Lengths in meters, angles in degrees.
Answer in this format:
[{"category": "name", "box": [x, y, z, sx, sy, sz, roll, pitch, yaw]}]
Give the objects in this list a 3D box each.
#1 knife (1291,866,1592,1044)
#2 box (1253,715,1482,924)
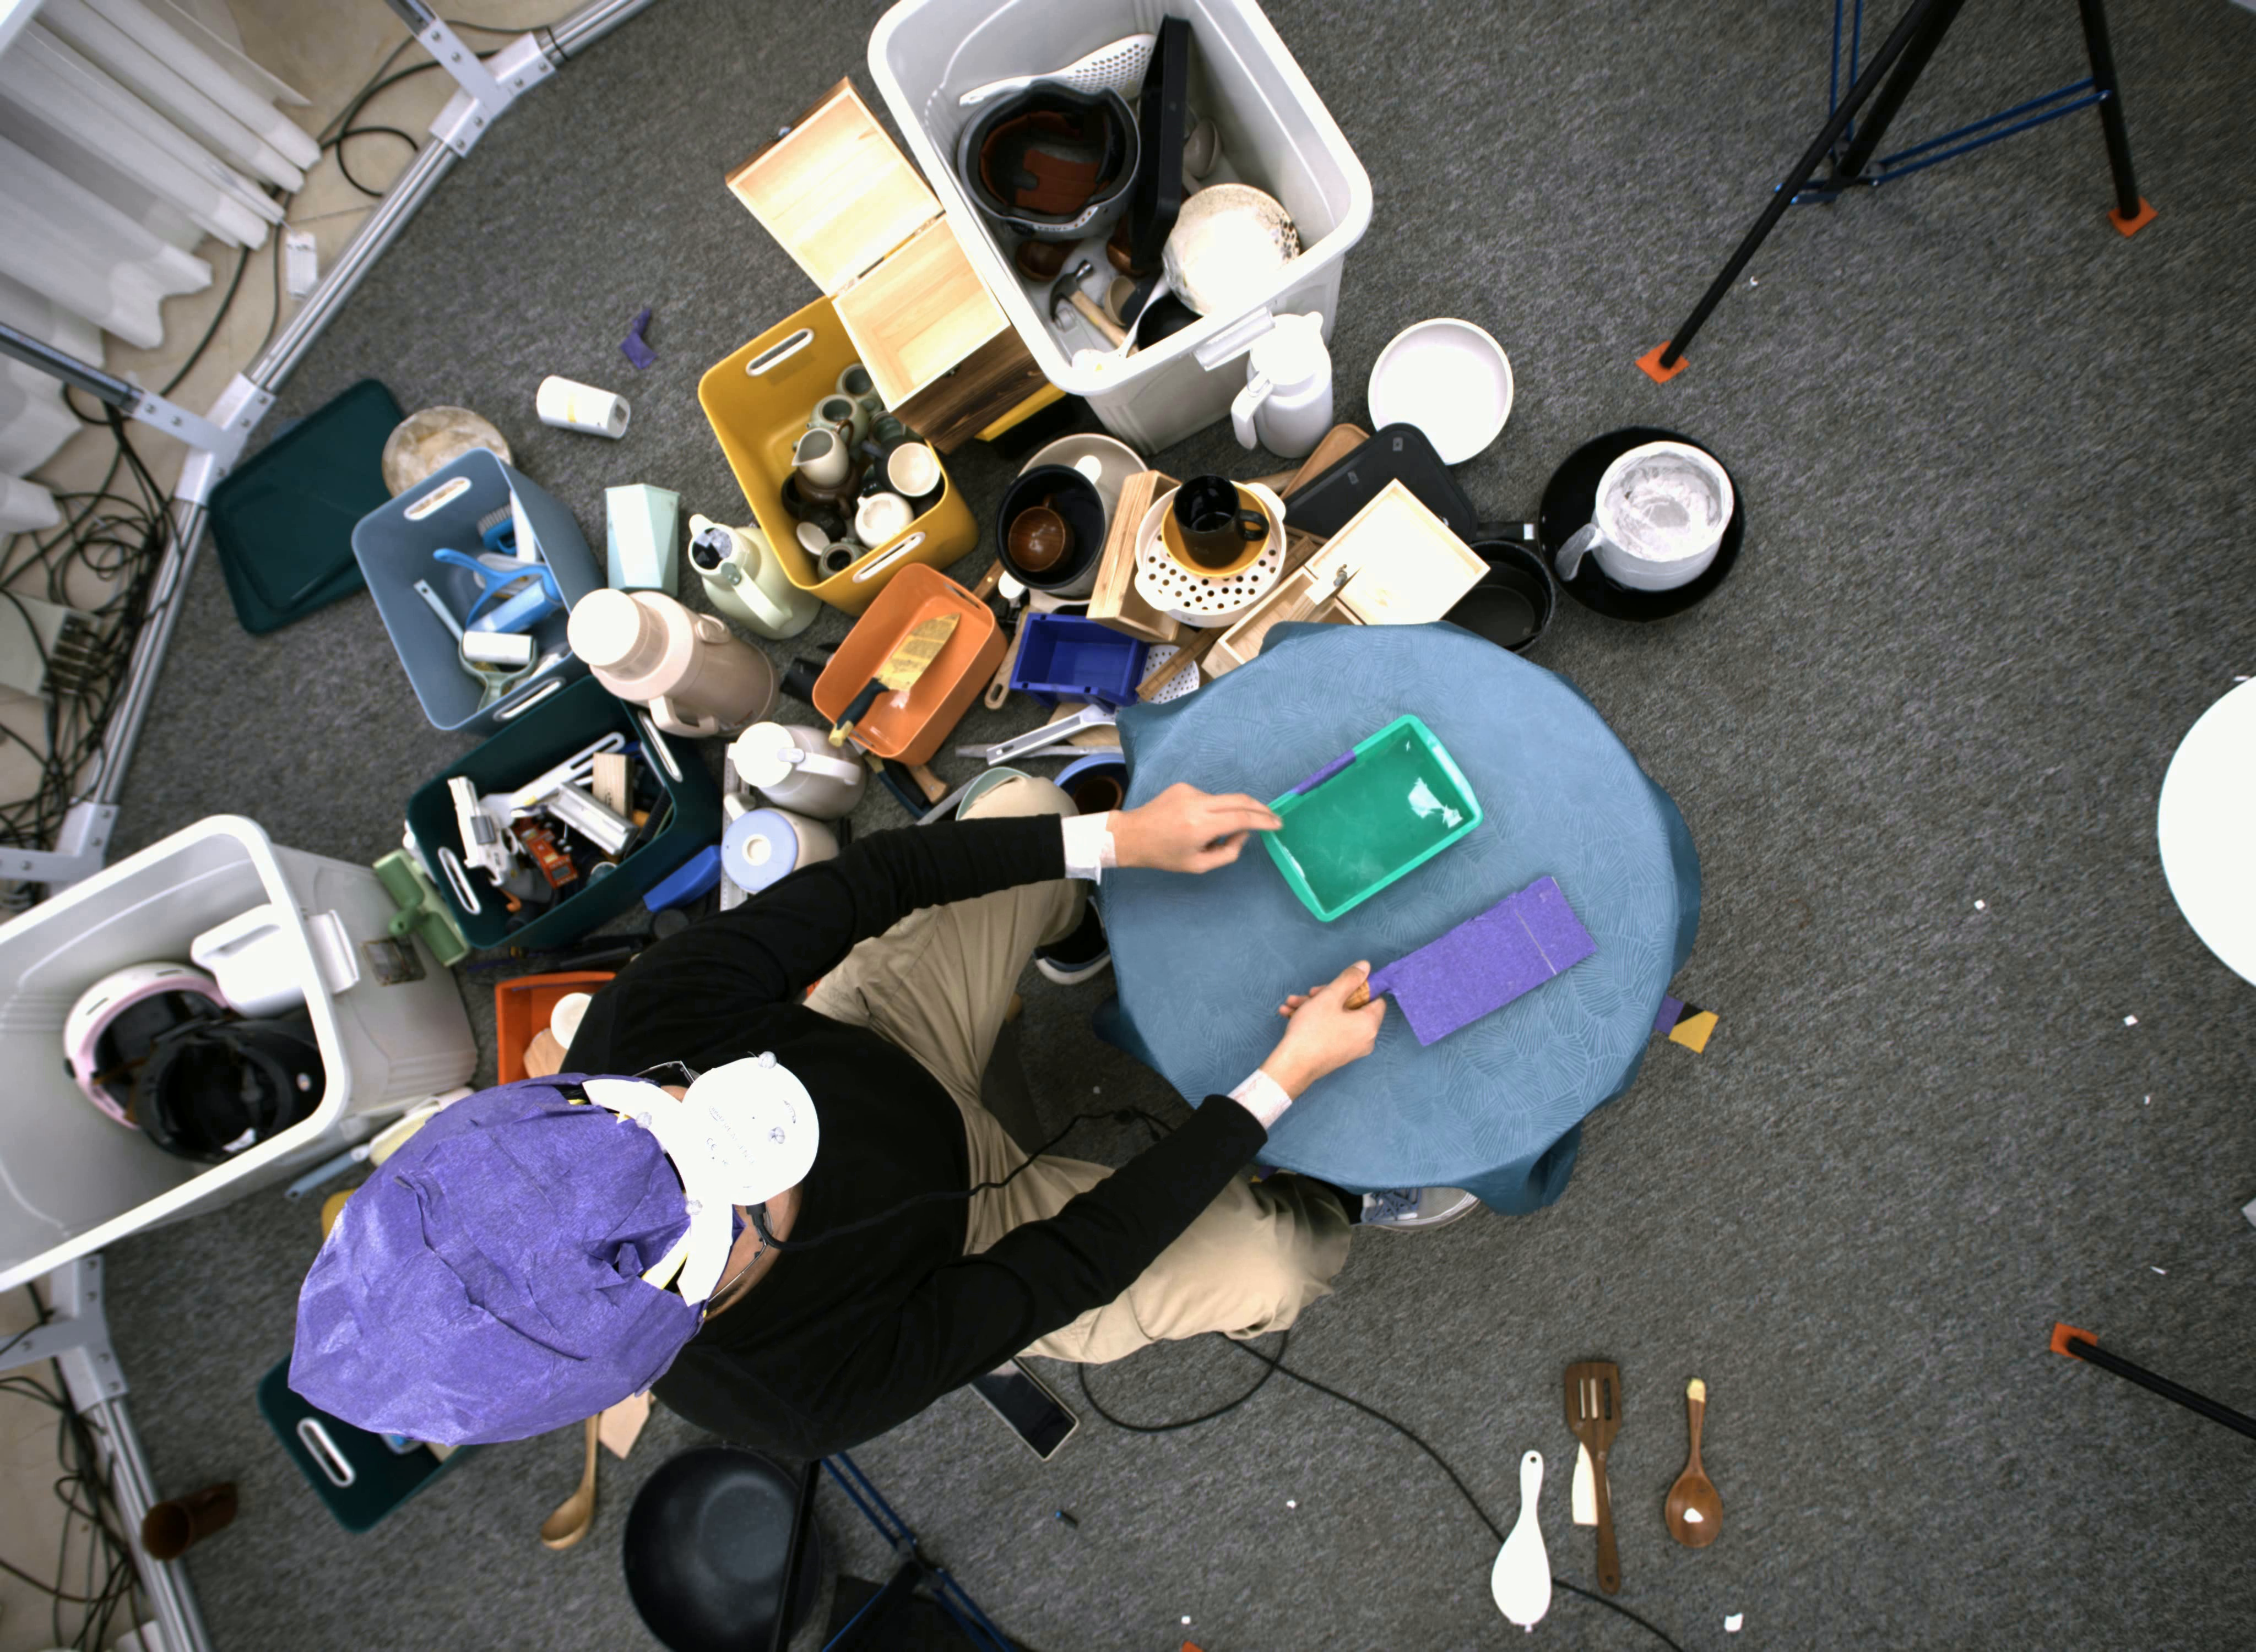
[{"category": "knife", "box": [0.323, 0.157, 1.404, 0.316, 0.032, 0.103, -30, 81, 2]}, {"category": "box", "box": [0.249, -0.005, 1.437, 0.212, 0.065, 0.138, -35, 80, 8]}]
